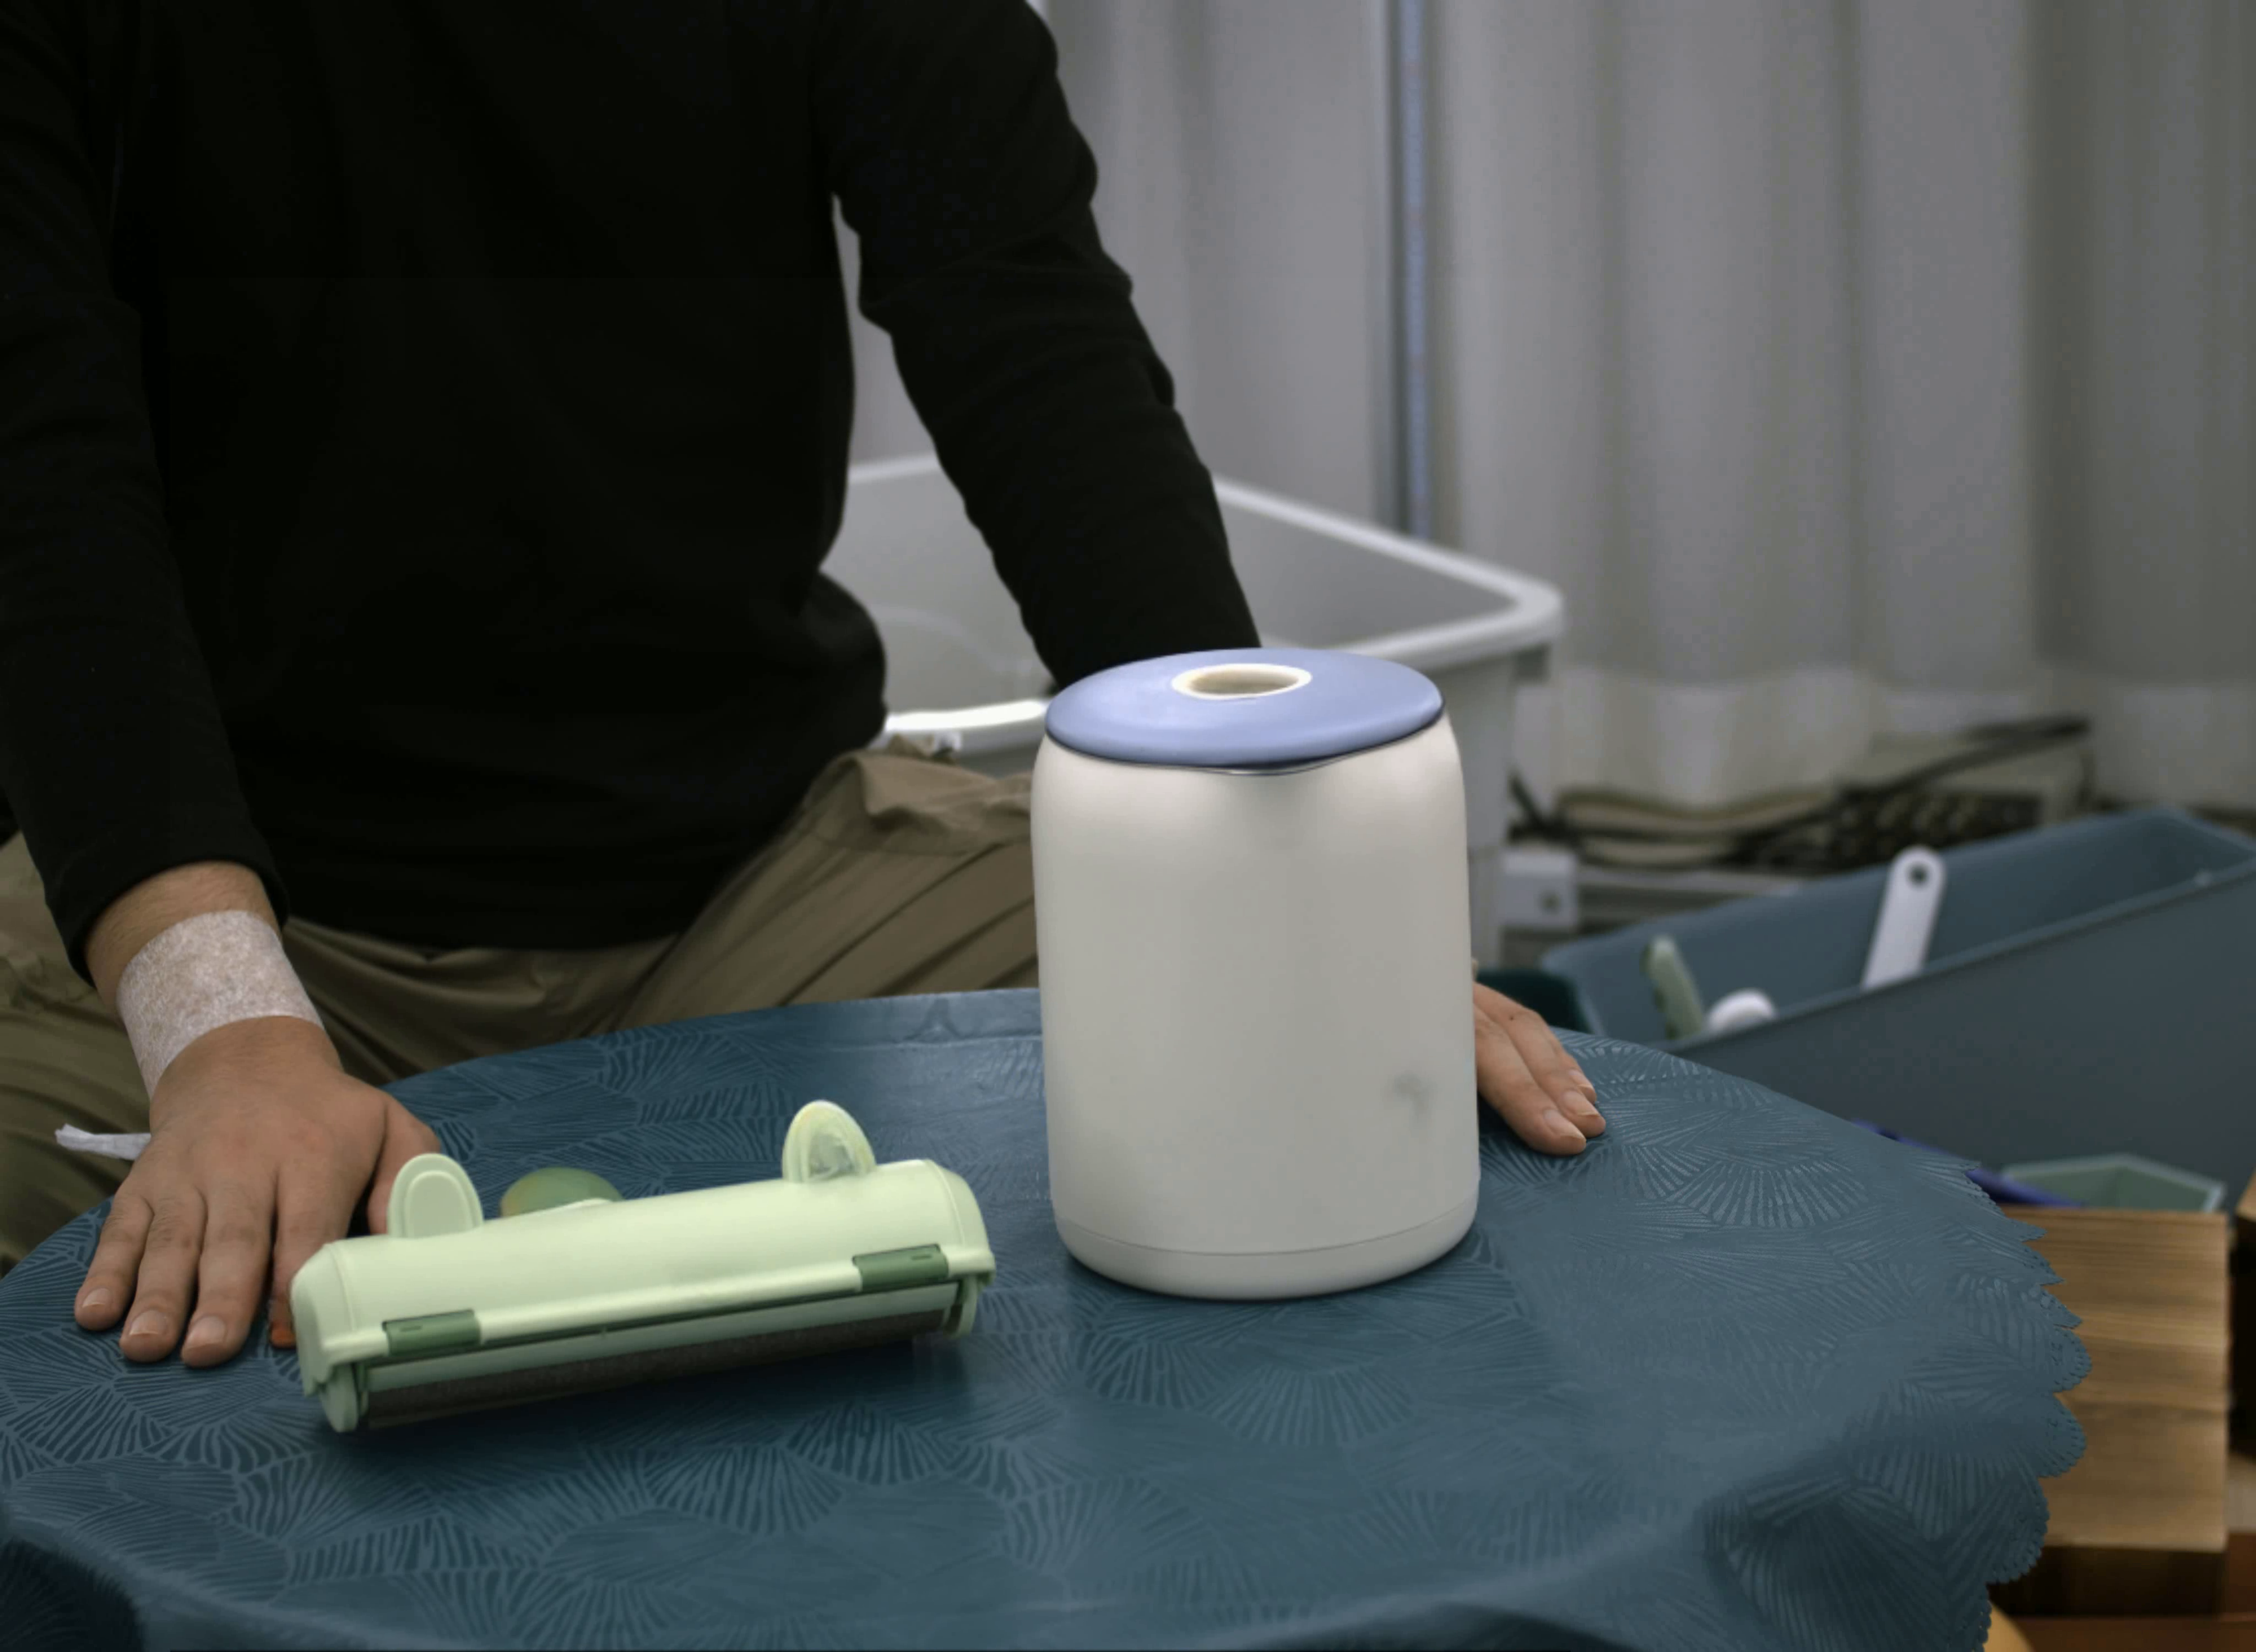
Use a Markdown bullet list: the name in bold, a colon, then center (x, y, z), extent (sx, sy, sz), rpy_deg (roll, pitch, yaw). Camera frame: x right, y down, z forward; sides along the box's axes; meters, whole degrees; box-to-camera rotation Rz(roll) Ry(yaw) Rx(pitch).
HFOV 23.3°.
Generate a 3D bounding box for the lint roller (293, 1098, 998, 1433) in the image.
- **lint roller**: center (-0.155, 0.112, 1.605), extent (0.197, 0.082, 0.185), rpy_deg (-6, 17, -18)

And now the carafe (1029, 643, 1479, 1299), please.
- **carafe**: center (0.034, 0.037, 1.669), extent (0.131, 0.182, 0.192), rpy_deg (-4, 12, -8)
